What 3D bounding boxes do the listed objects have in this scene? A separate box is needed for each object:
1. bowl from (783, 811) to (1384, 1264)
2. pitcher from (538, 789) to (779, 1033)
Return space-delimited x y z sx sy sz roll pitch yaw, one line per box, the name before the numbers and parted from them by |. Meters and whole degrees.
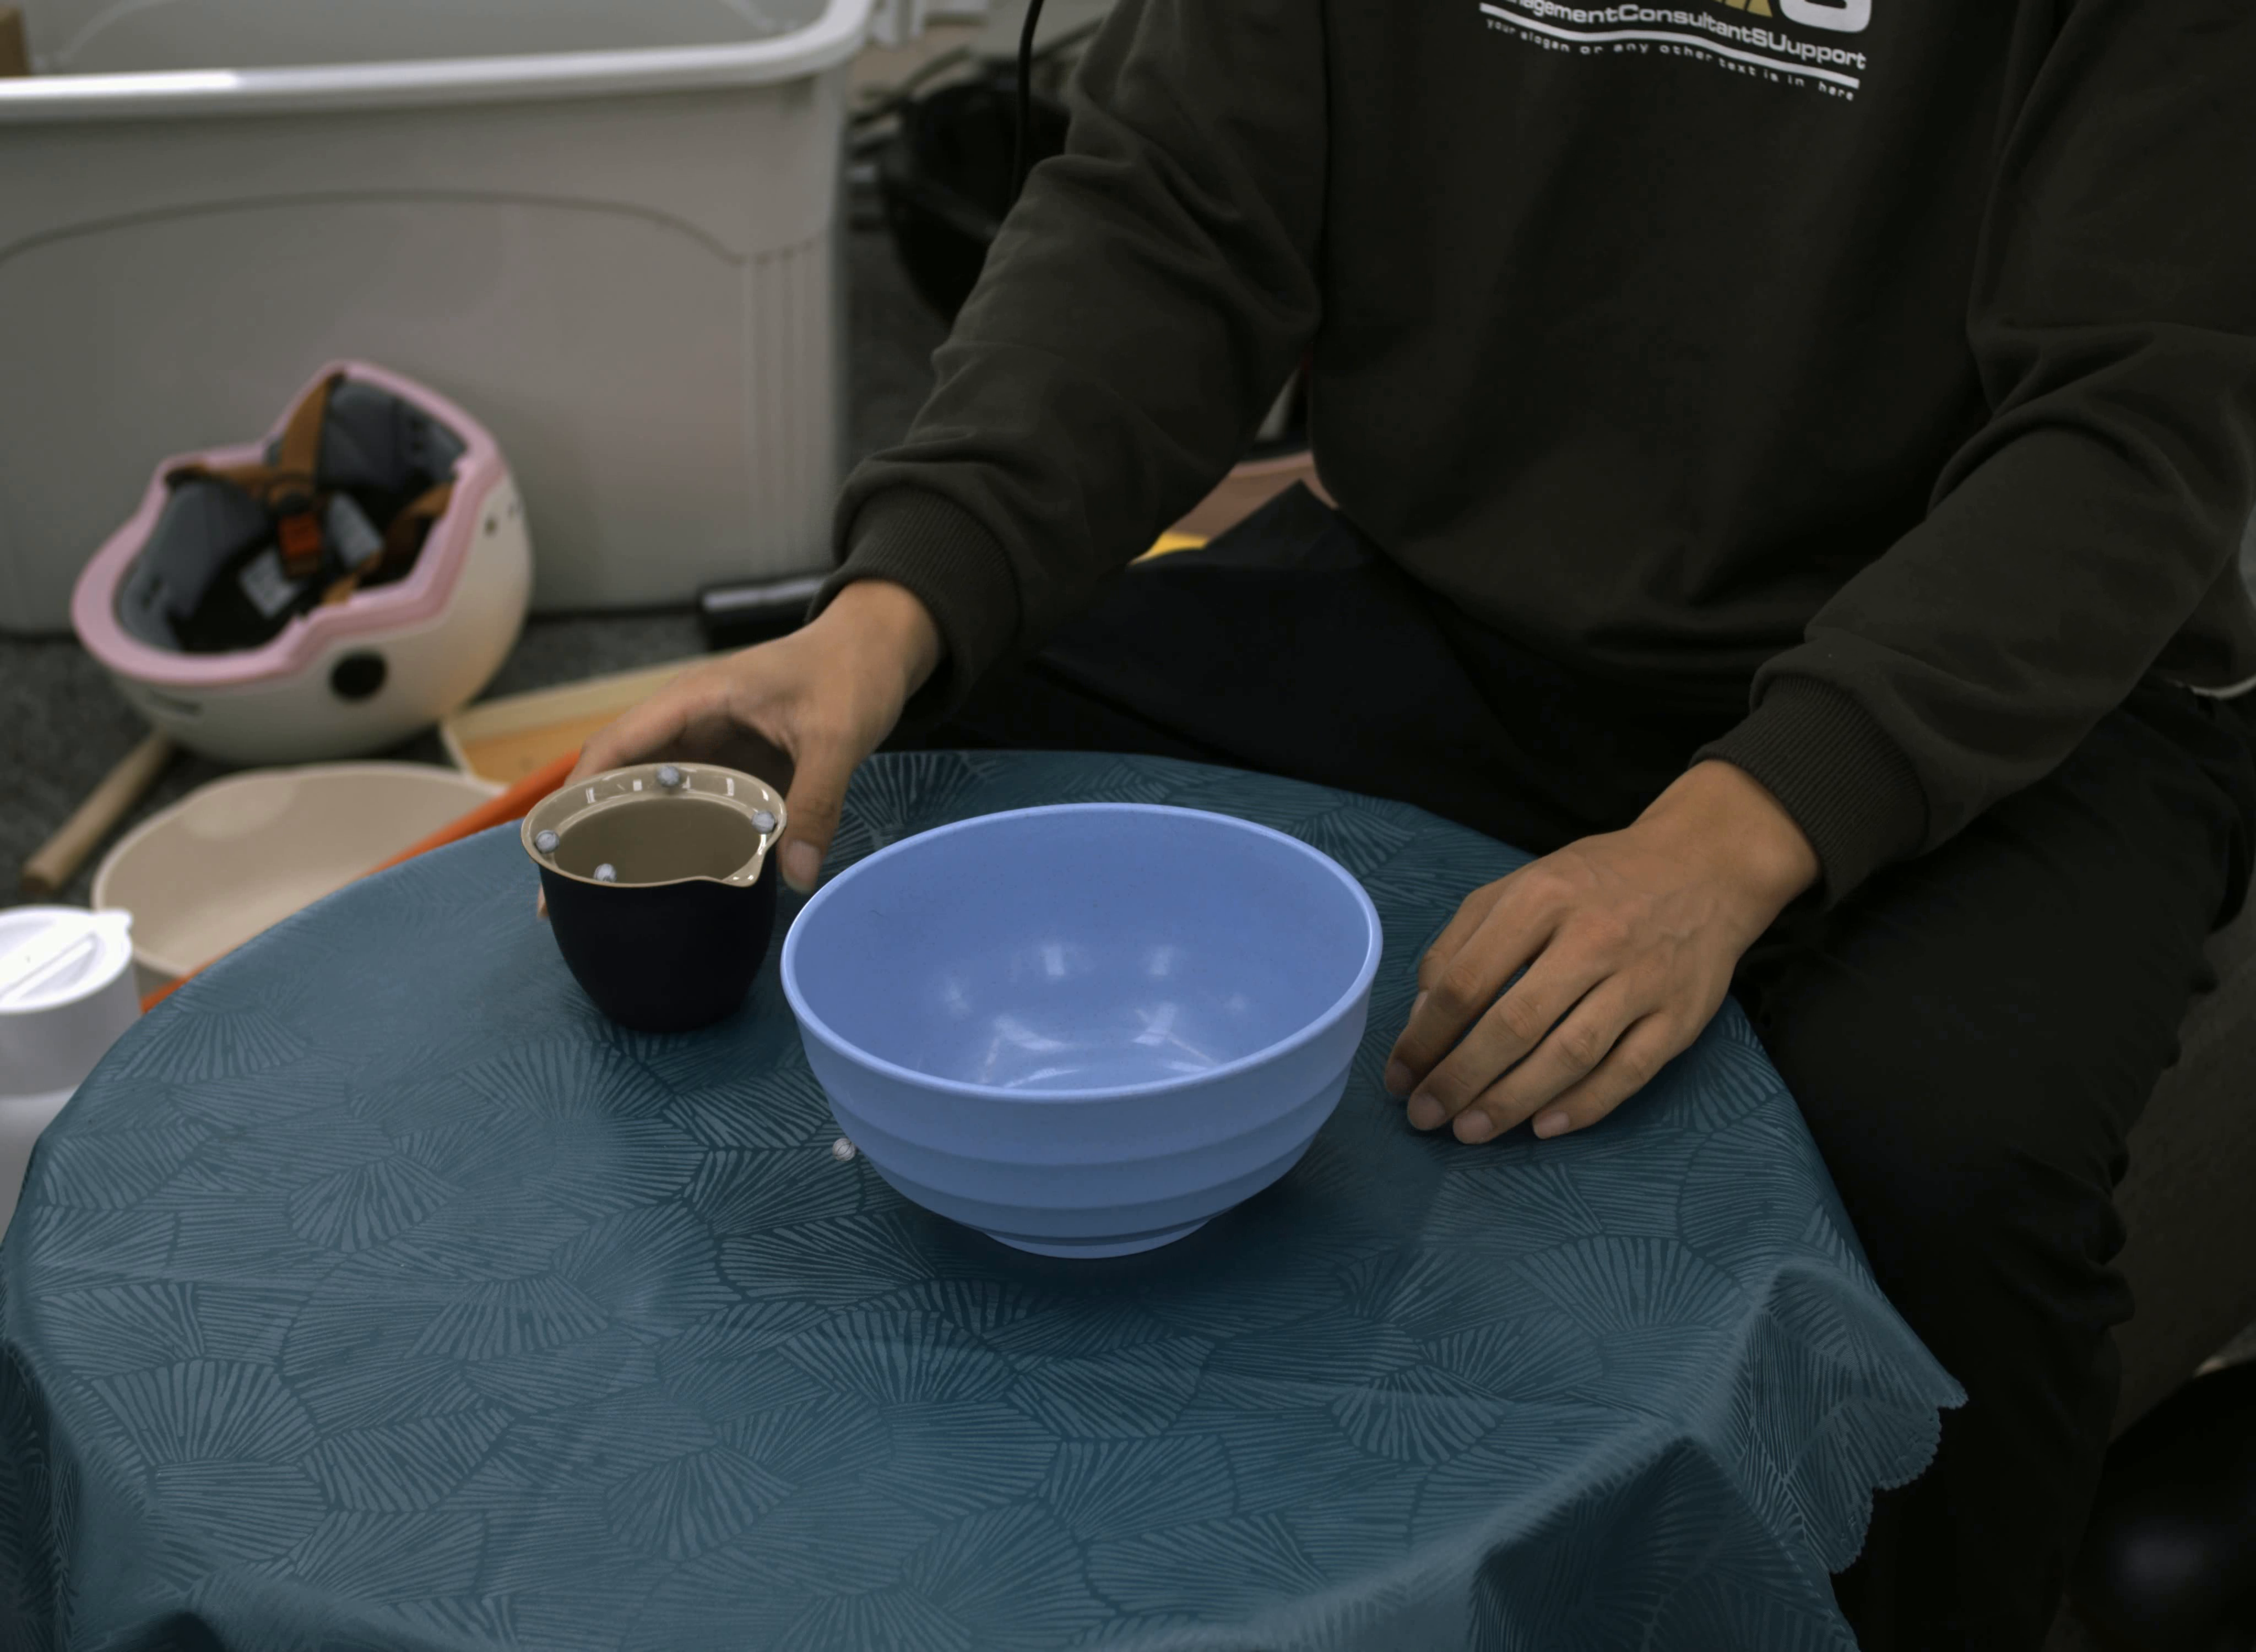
bowl | -0.014 0.080 1.849 0.195 0.094 0.199 -1 26 1
pitcher | -0.160 0.032 1.974 0.084 0.070 0.096 -23 33 -36
